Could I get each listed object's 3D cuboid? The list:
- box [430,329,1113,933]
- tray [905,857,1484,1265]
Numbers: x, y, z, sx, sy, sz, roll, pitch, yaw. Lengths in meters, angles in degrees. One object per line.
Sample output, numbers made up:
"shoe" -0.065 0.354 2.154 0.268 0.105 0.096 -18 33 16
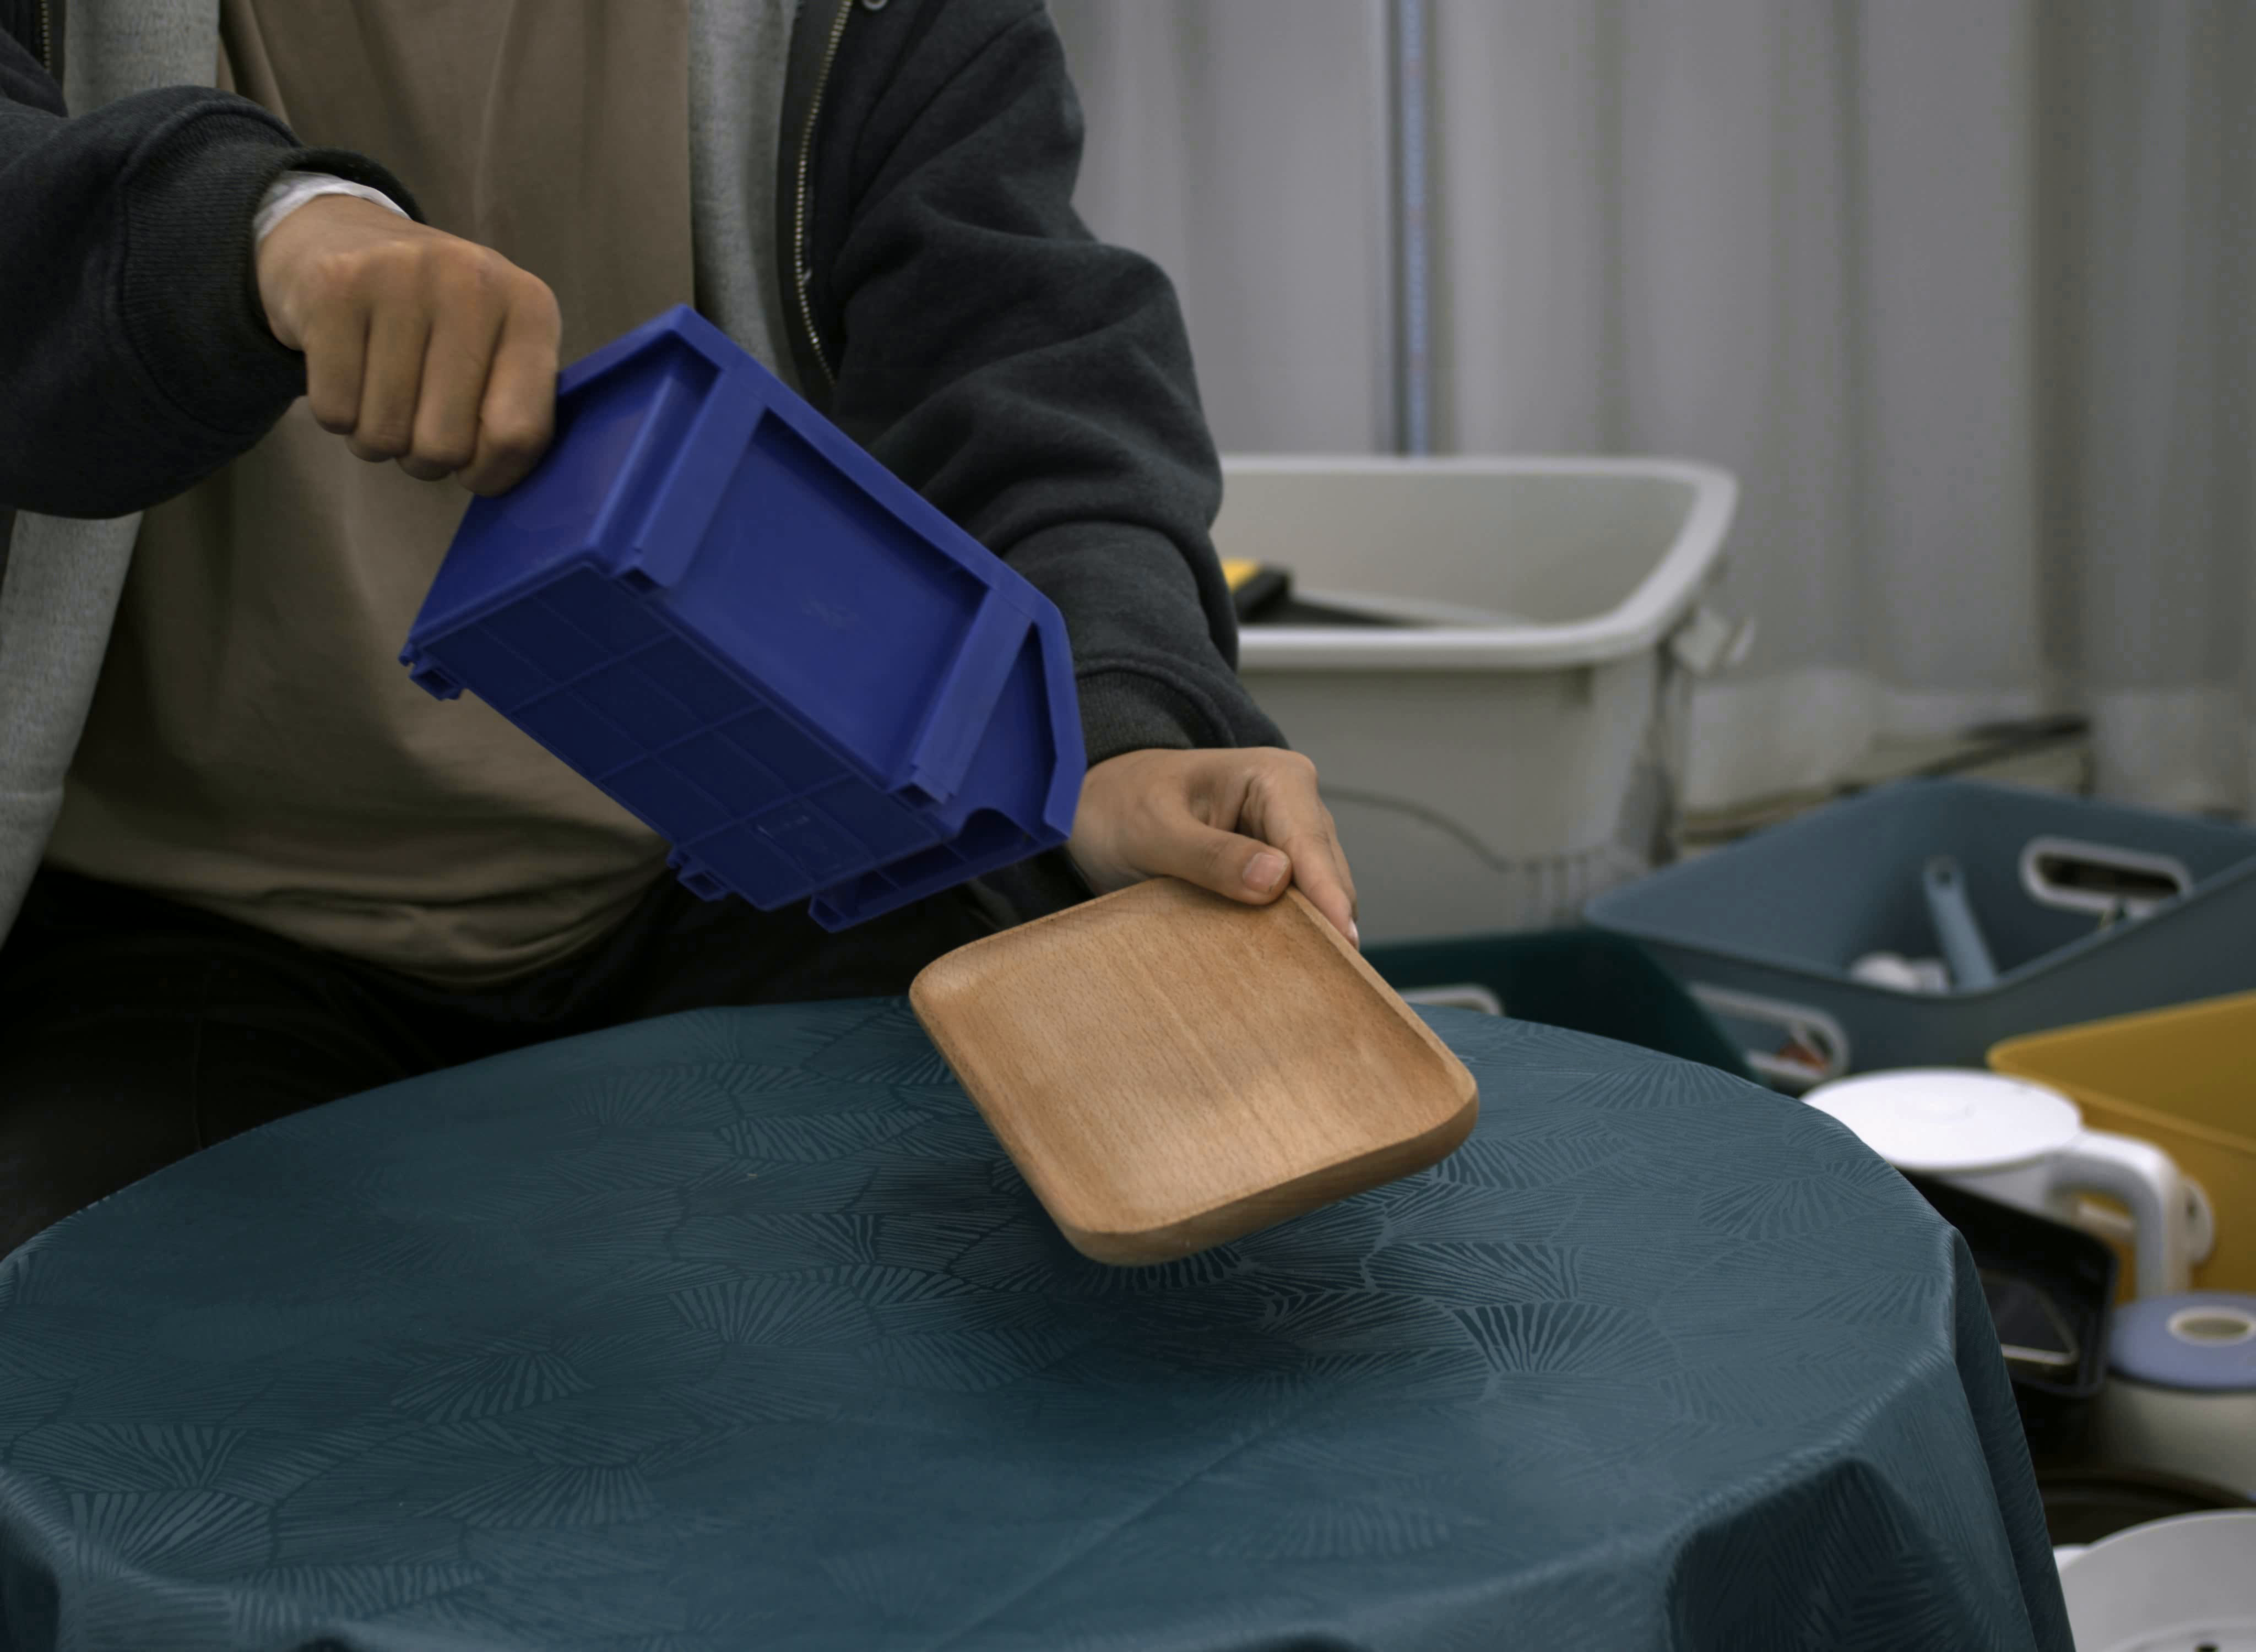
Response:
"box" -0.104 -0.046 1.593 0.178 0.083 0.124 33 -33 -23
"tray" 0.016 0.068 1.644 0.130 0.023 0.253 -16 20 -10
